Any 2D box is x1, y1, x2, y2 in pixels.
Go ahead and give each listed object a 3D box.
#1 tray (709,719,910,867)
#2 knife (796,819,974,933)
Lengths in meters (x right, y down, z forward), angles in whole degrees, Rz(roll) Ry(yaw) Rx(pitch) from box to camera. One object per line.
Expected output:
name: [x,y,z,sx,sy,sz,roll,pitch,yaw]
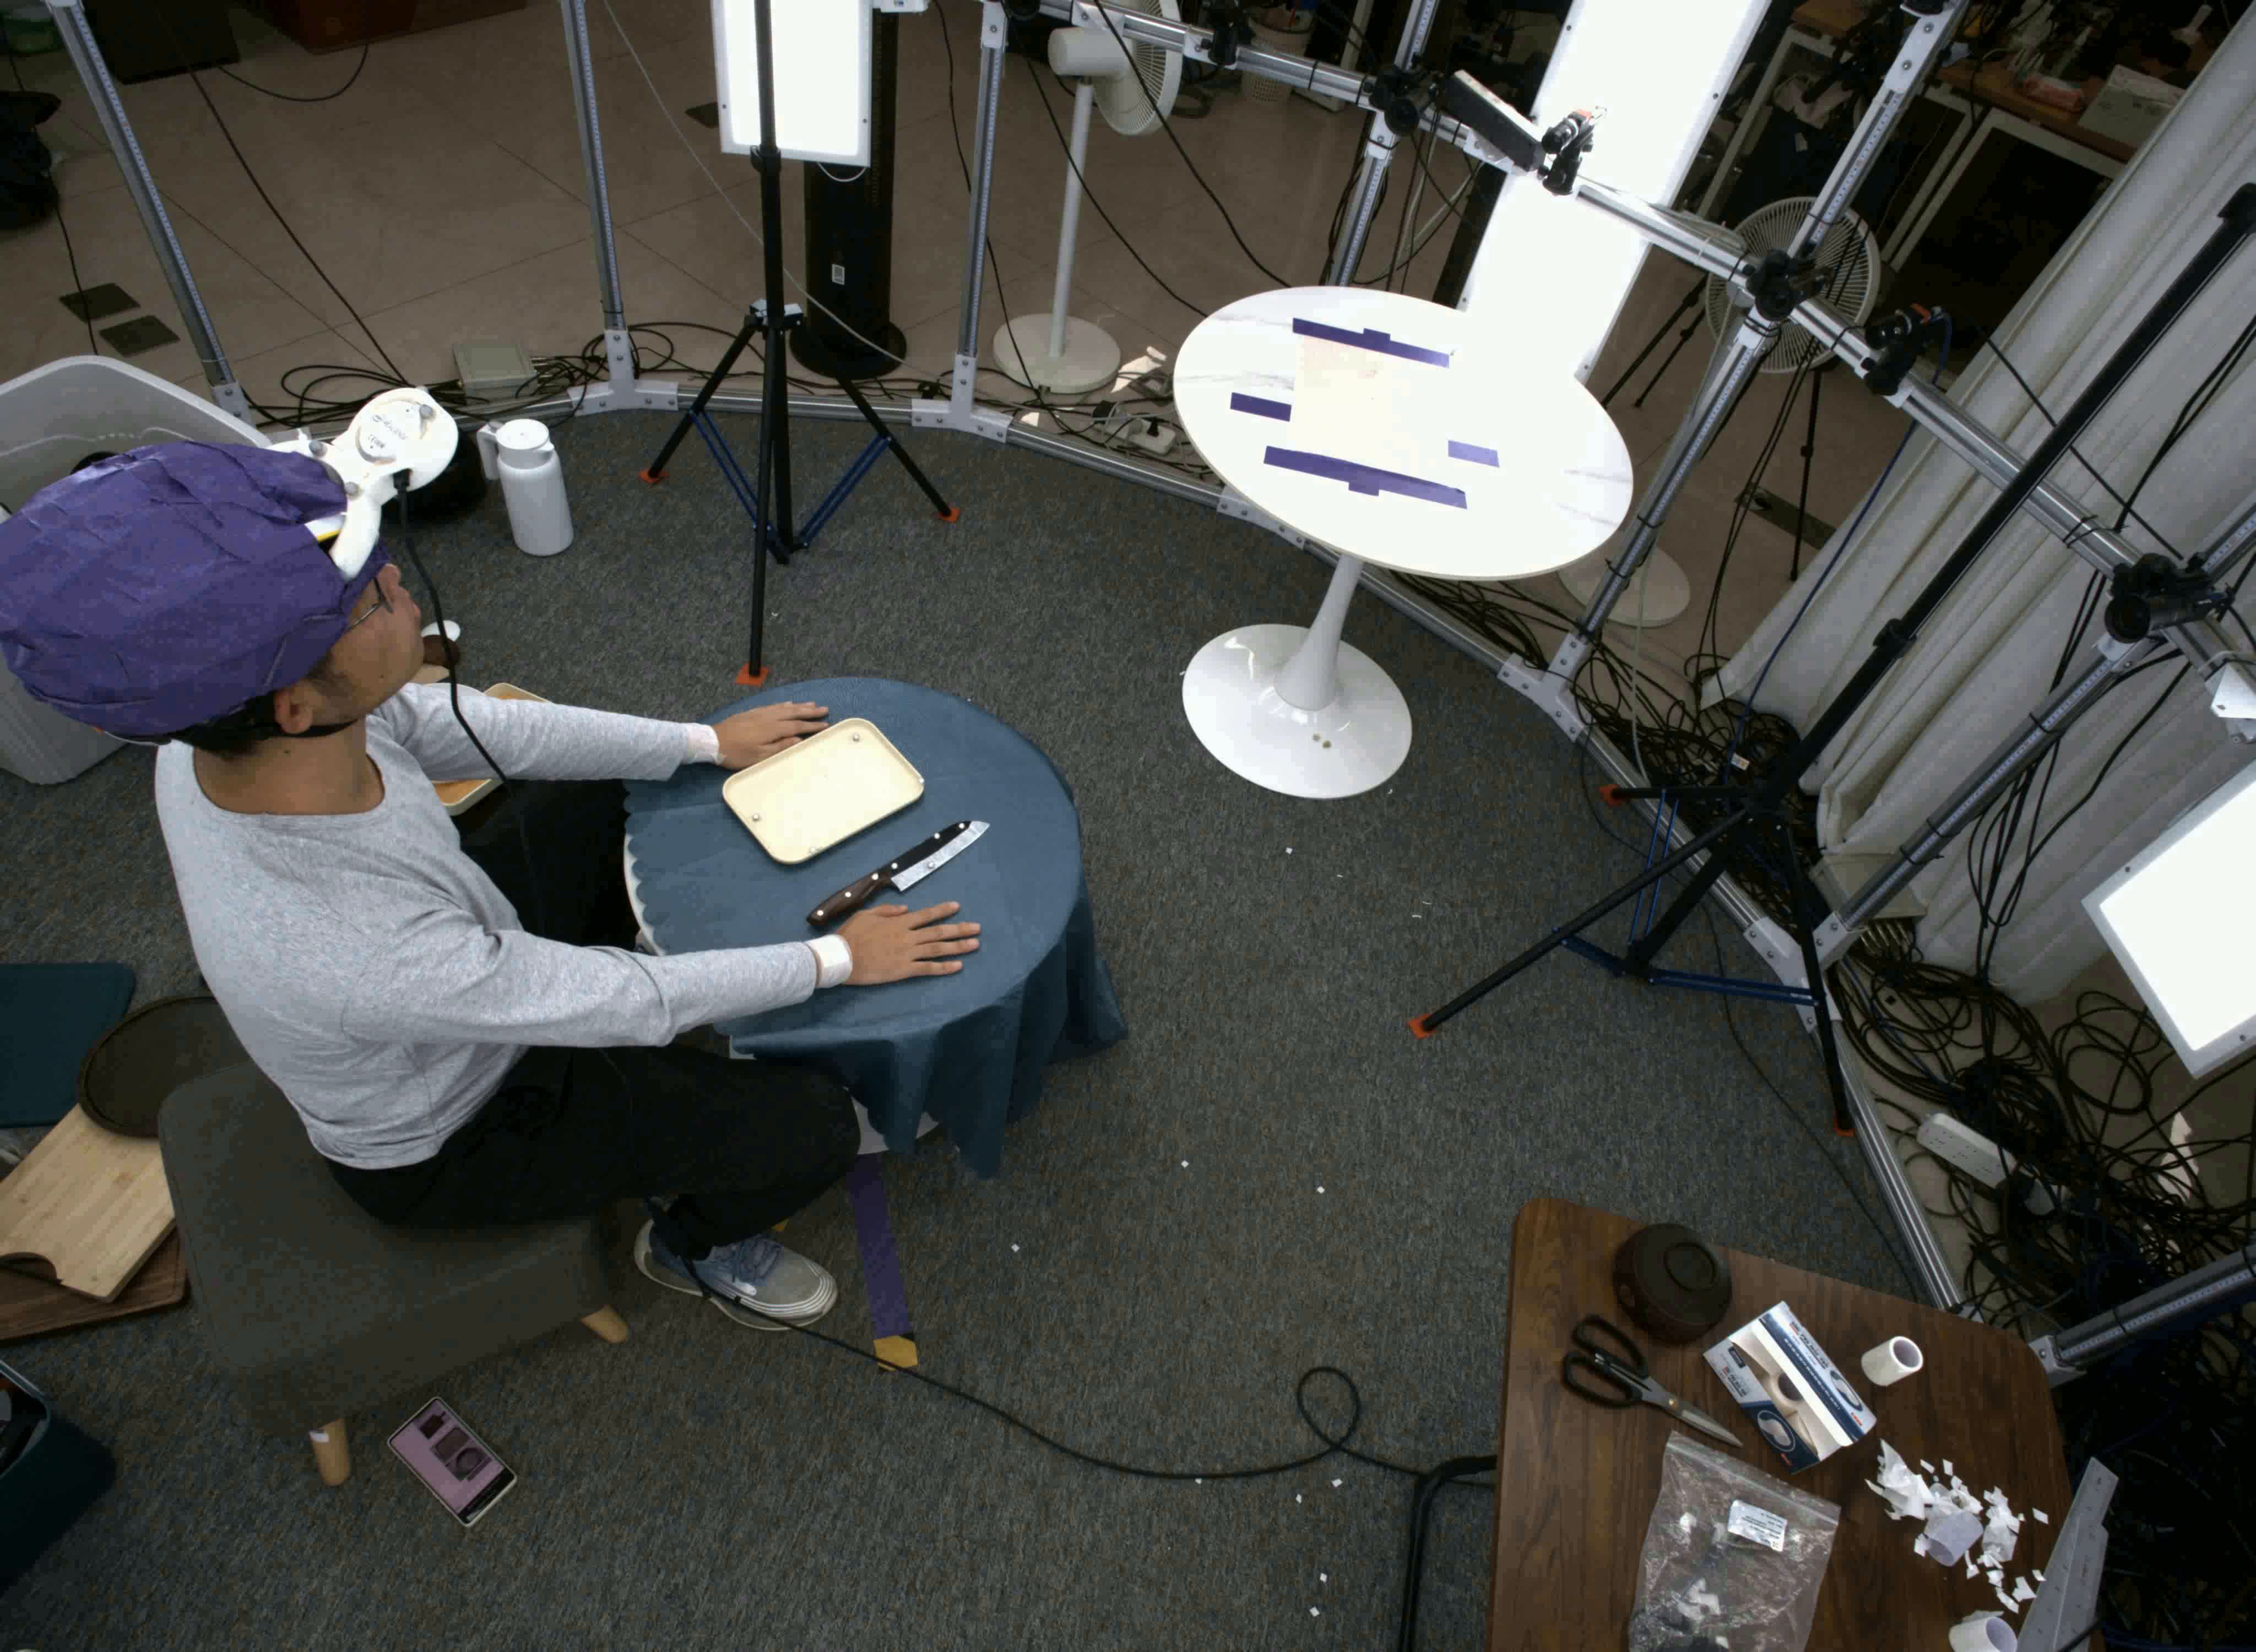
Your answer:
tray: [-0.430,-0.047,1.757,0.240,0.018,0.167,-33,67,-31]
knife: [-0.314,0.059,1.710,0.290,0.020,0.049,-34,72,-35]
